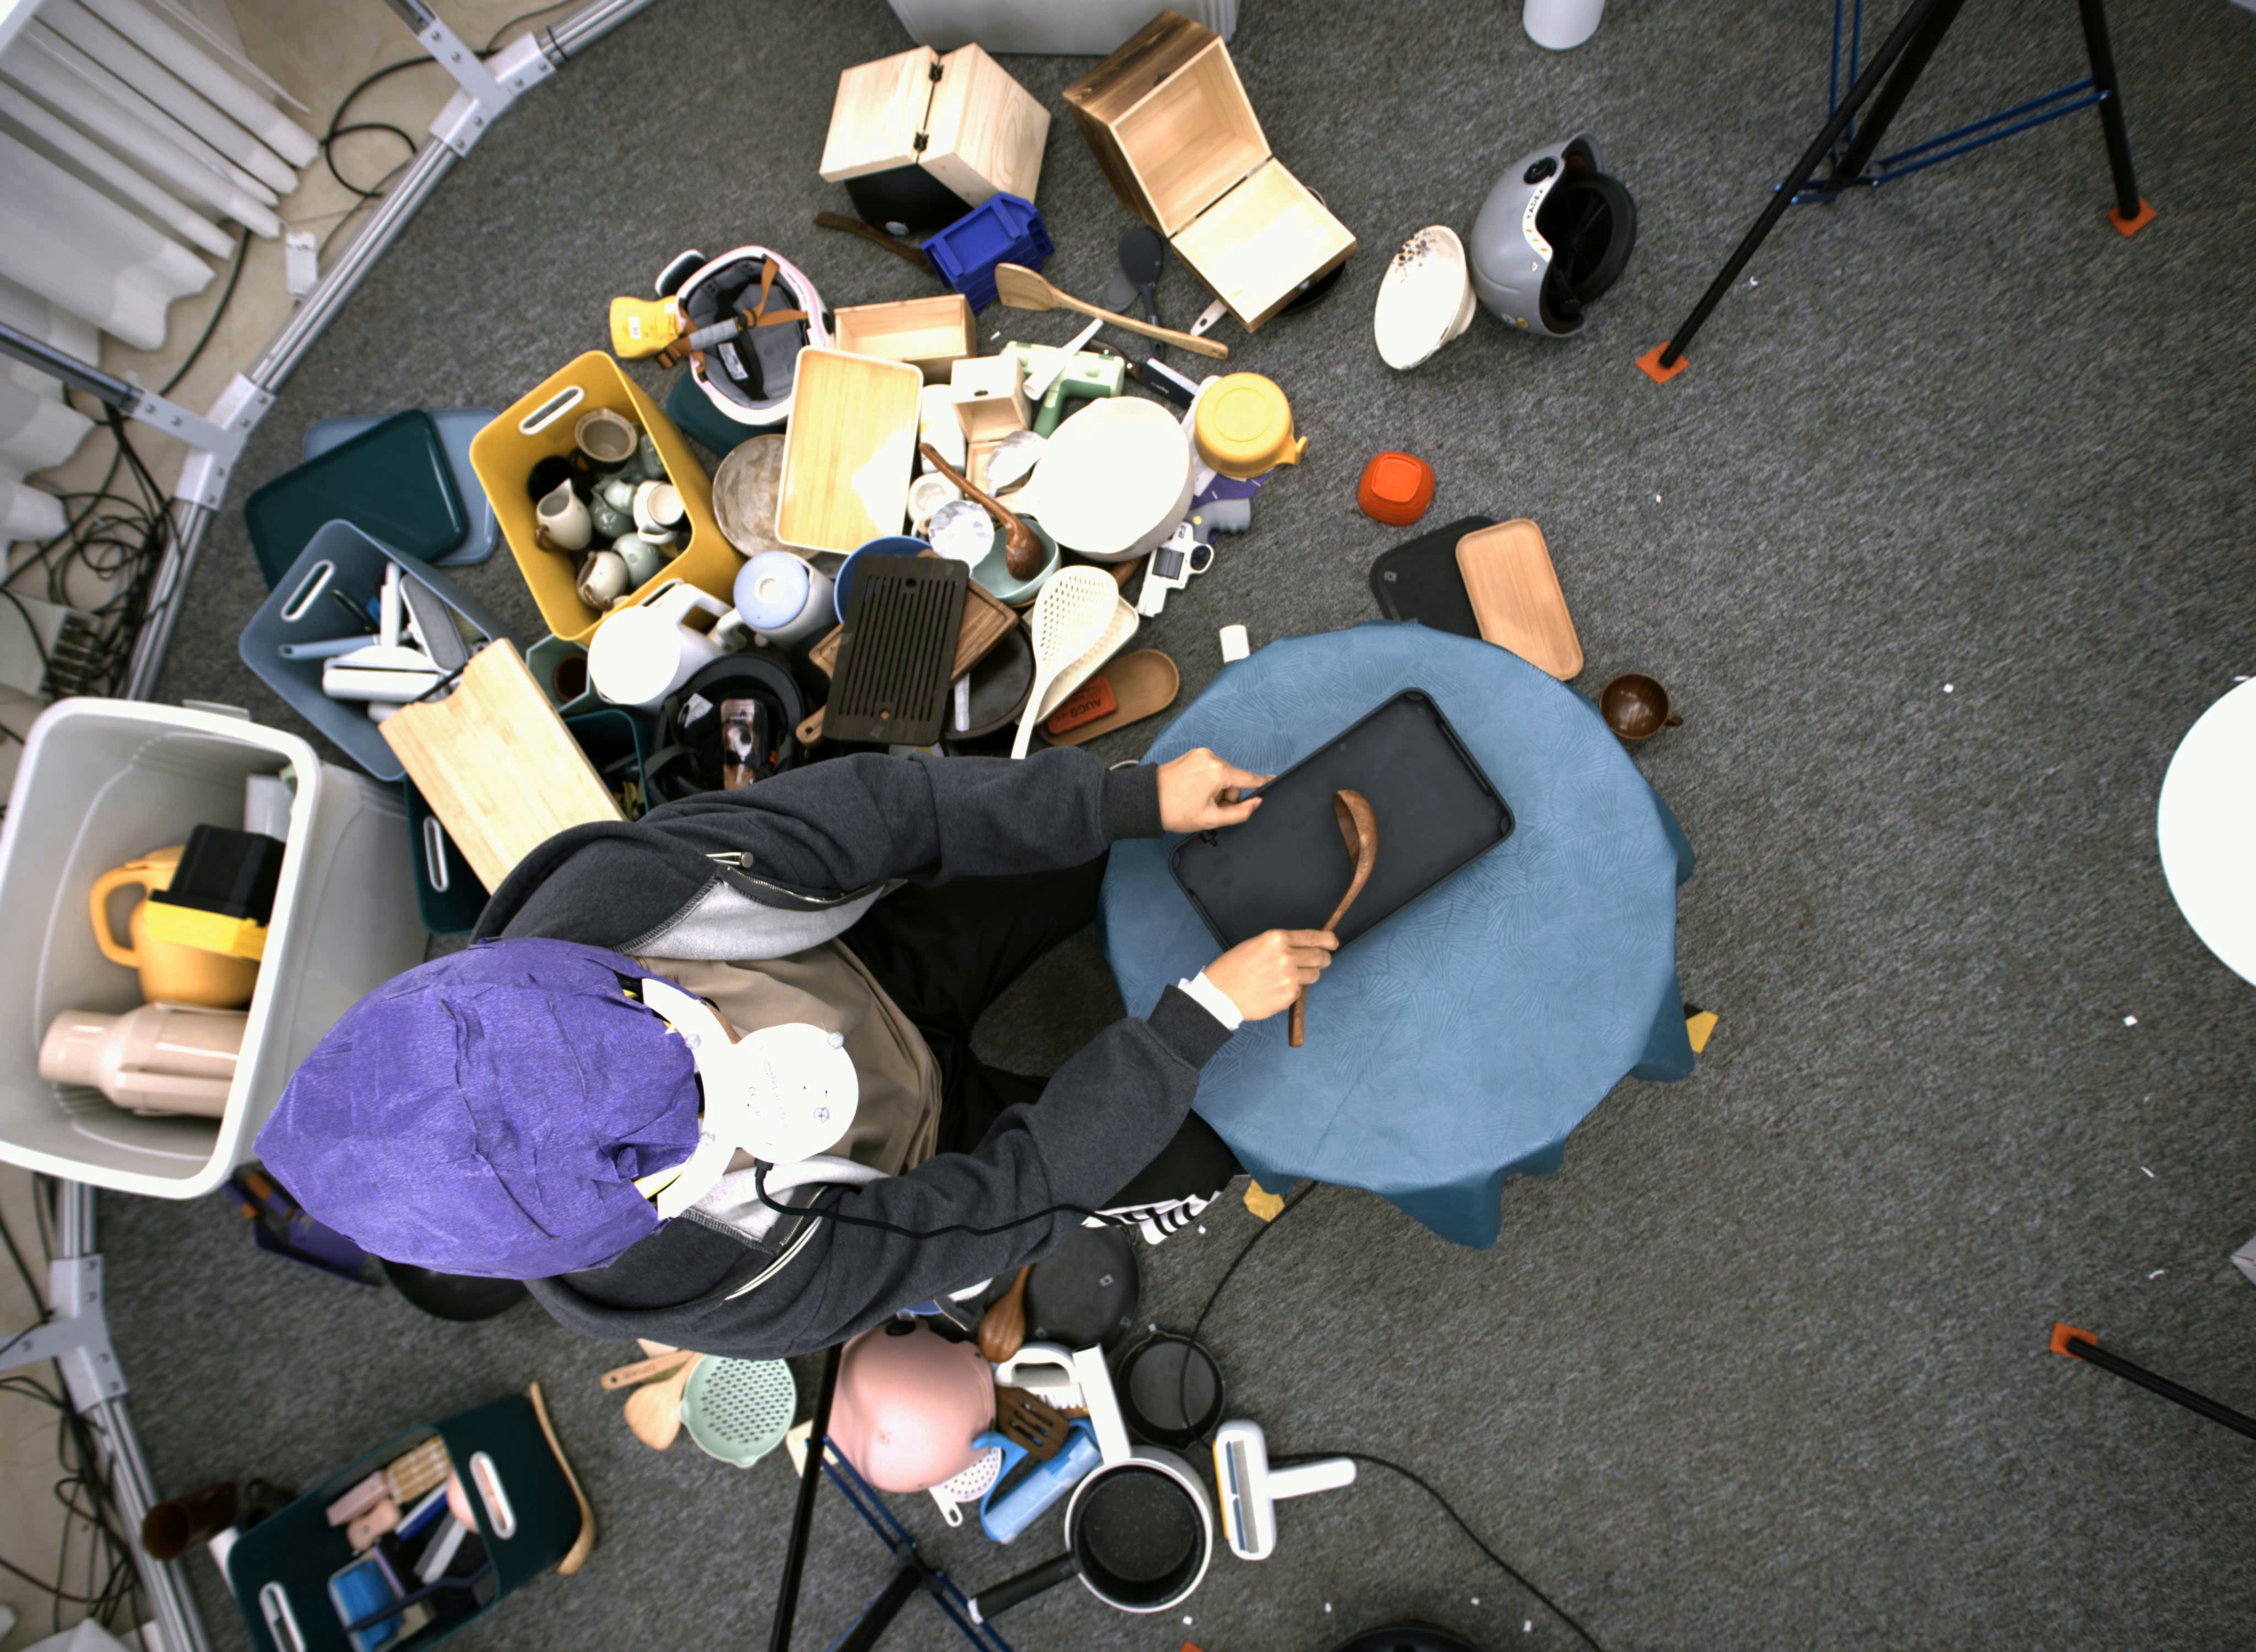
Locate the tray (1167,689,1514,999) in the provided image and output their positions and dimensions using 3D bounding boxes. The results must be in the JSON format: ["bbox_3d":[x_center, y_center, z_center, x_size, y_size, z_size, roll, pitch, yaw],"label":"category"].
[{"bbox_3d":[0.213,0.017,1.398,0.319,0.037,0.184,-35,88,4],"label":"tray"}]

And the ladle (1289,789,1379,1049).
[{"bbox_3d":[0.189,0.088,1.367,0.065,0.077,0.259,22,85,3],"label":"ladle"}]
